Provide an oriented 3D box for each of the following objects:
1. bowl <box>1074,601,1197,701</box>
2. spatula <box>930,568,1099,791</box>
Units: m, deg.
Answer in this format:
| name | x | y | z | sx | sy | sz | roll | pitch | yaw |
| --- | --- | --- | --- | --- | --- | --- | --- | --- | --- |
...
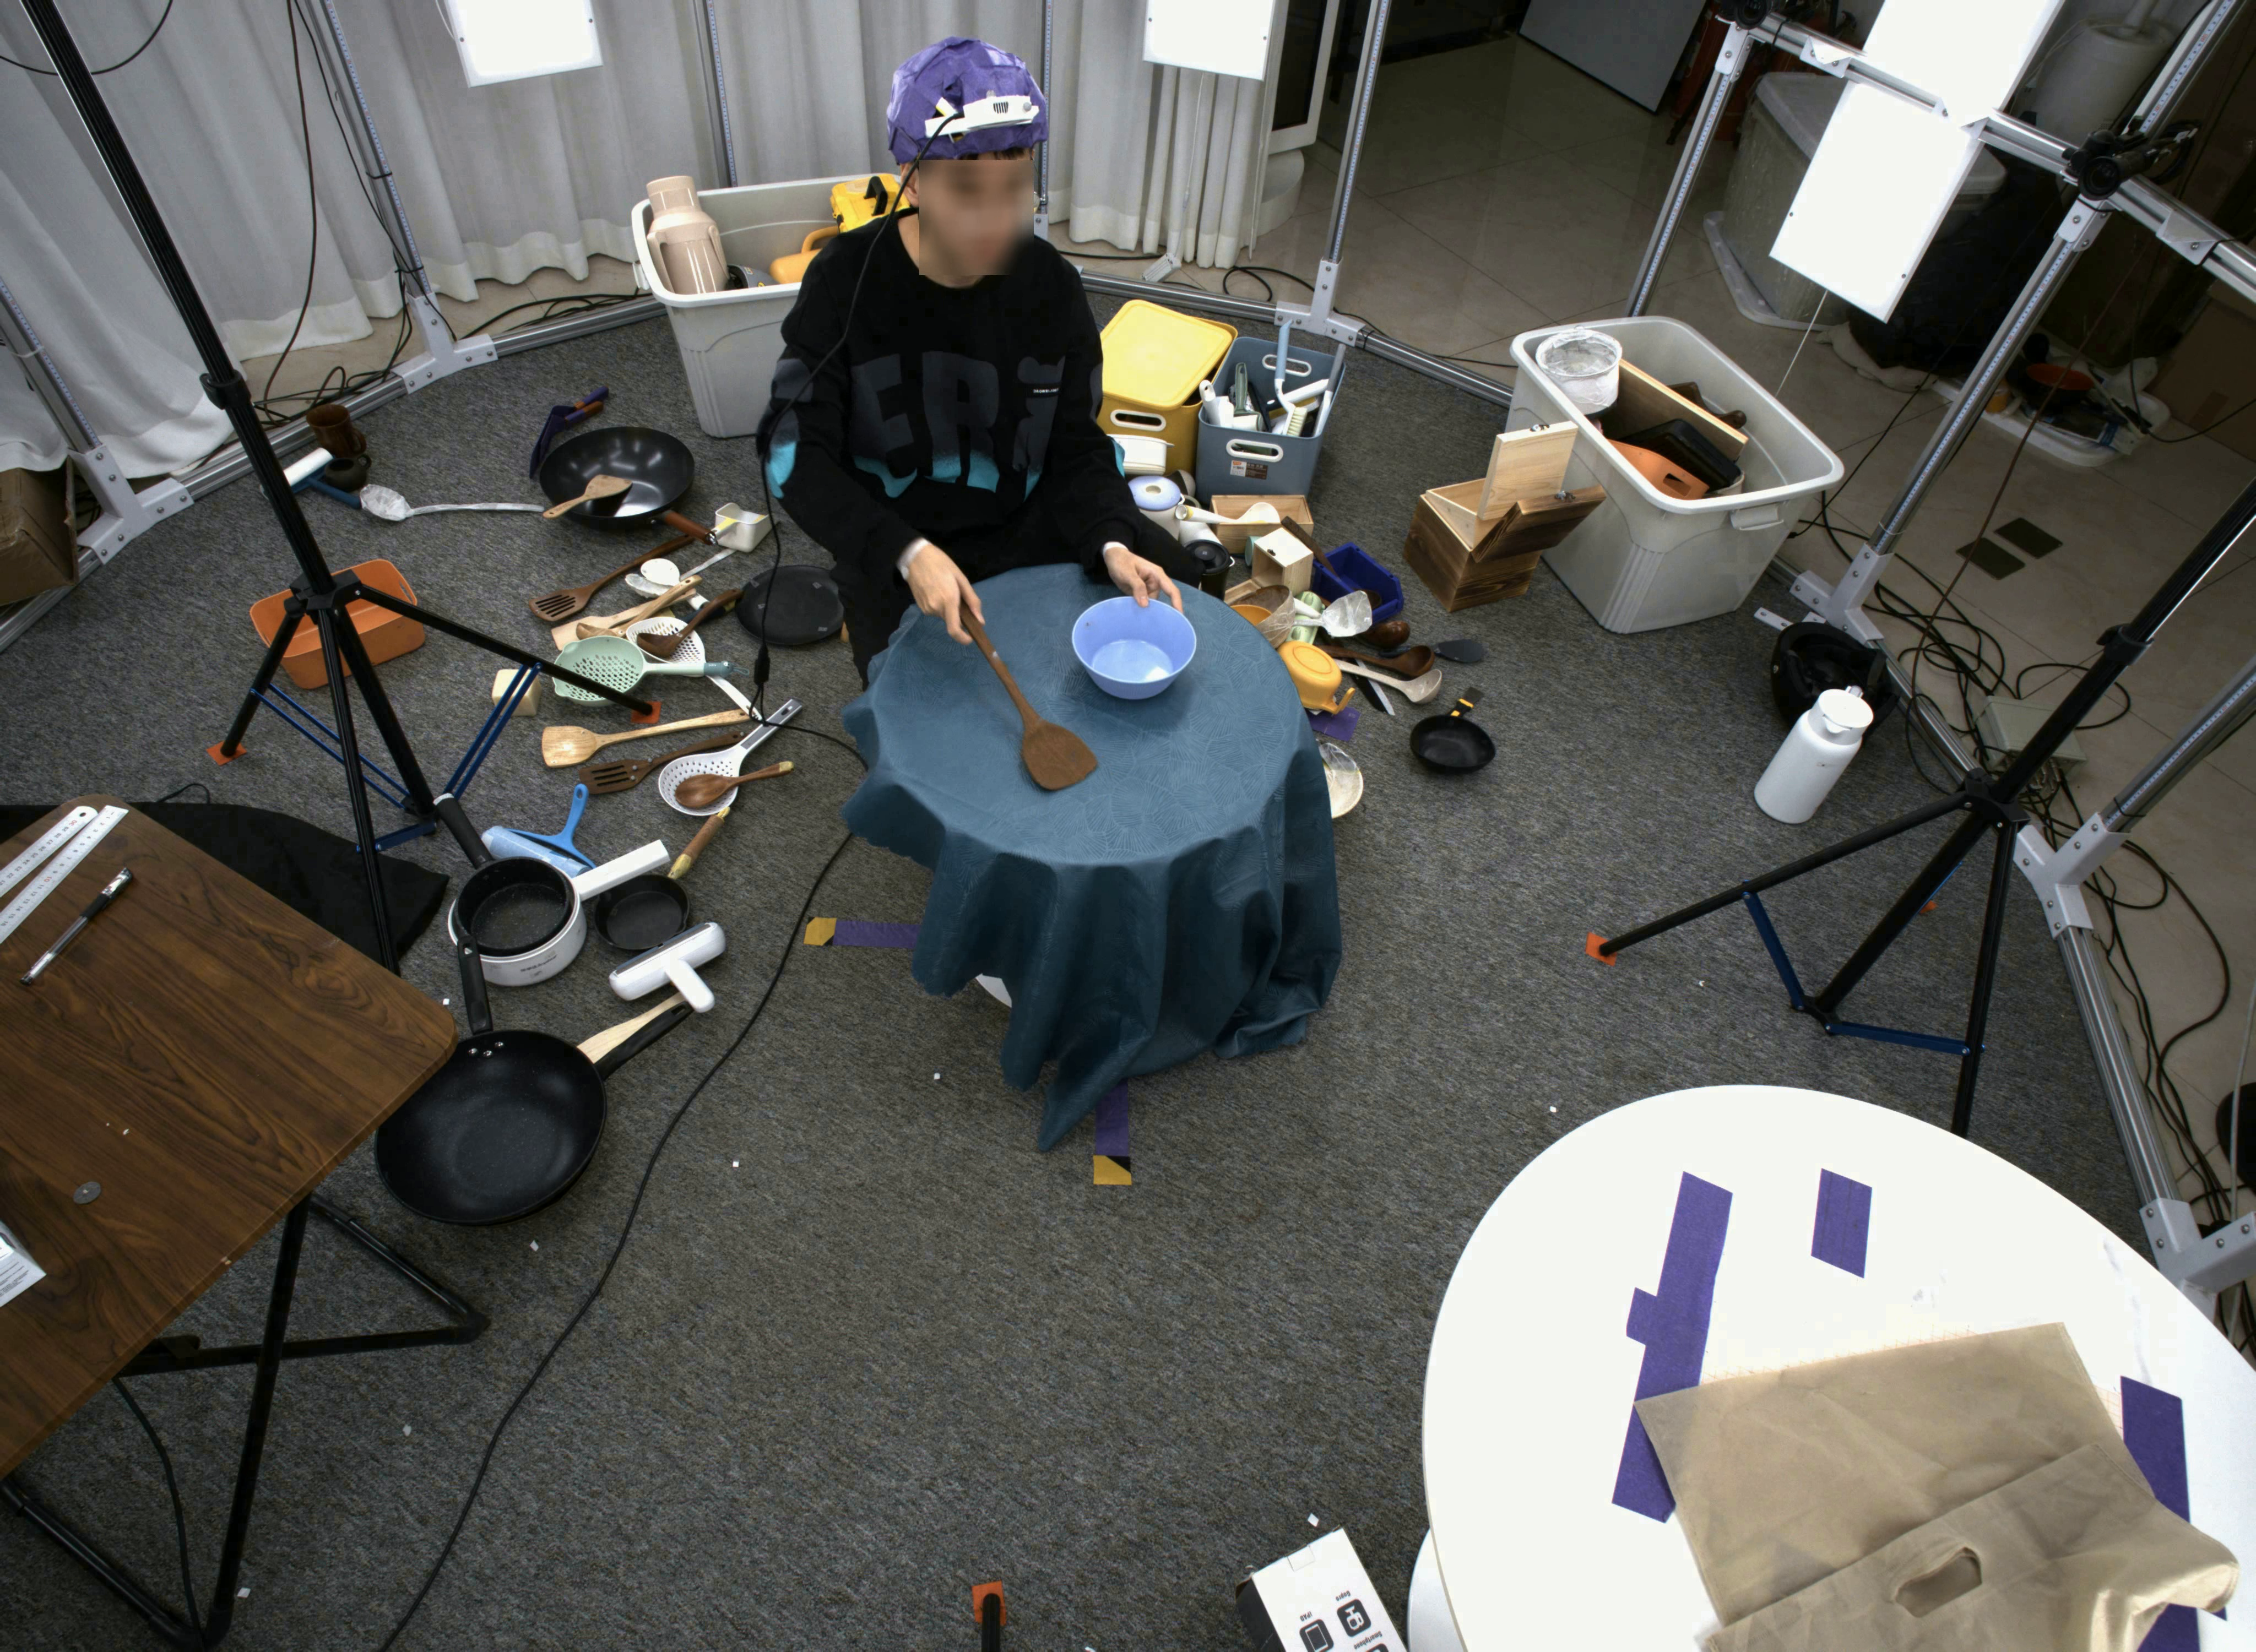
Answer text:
| name | x | y | z | sx | sy | sz | roll | pitch | yaw |
| --- | --- | --- | --- | --- | --- | --- | --- | --- | --- |
| bowl | 0.009 | -0.243 | 1.851 | 0.176 | 0.068 | 0.180 | 1 | 48 | -1 |
| spatula | -0.171 | -0.211 | 1.780 | 0.096 | 0.015 | 0.390 | -25 | 73 | -27 |
